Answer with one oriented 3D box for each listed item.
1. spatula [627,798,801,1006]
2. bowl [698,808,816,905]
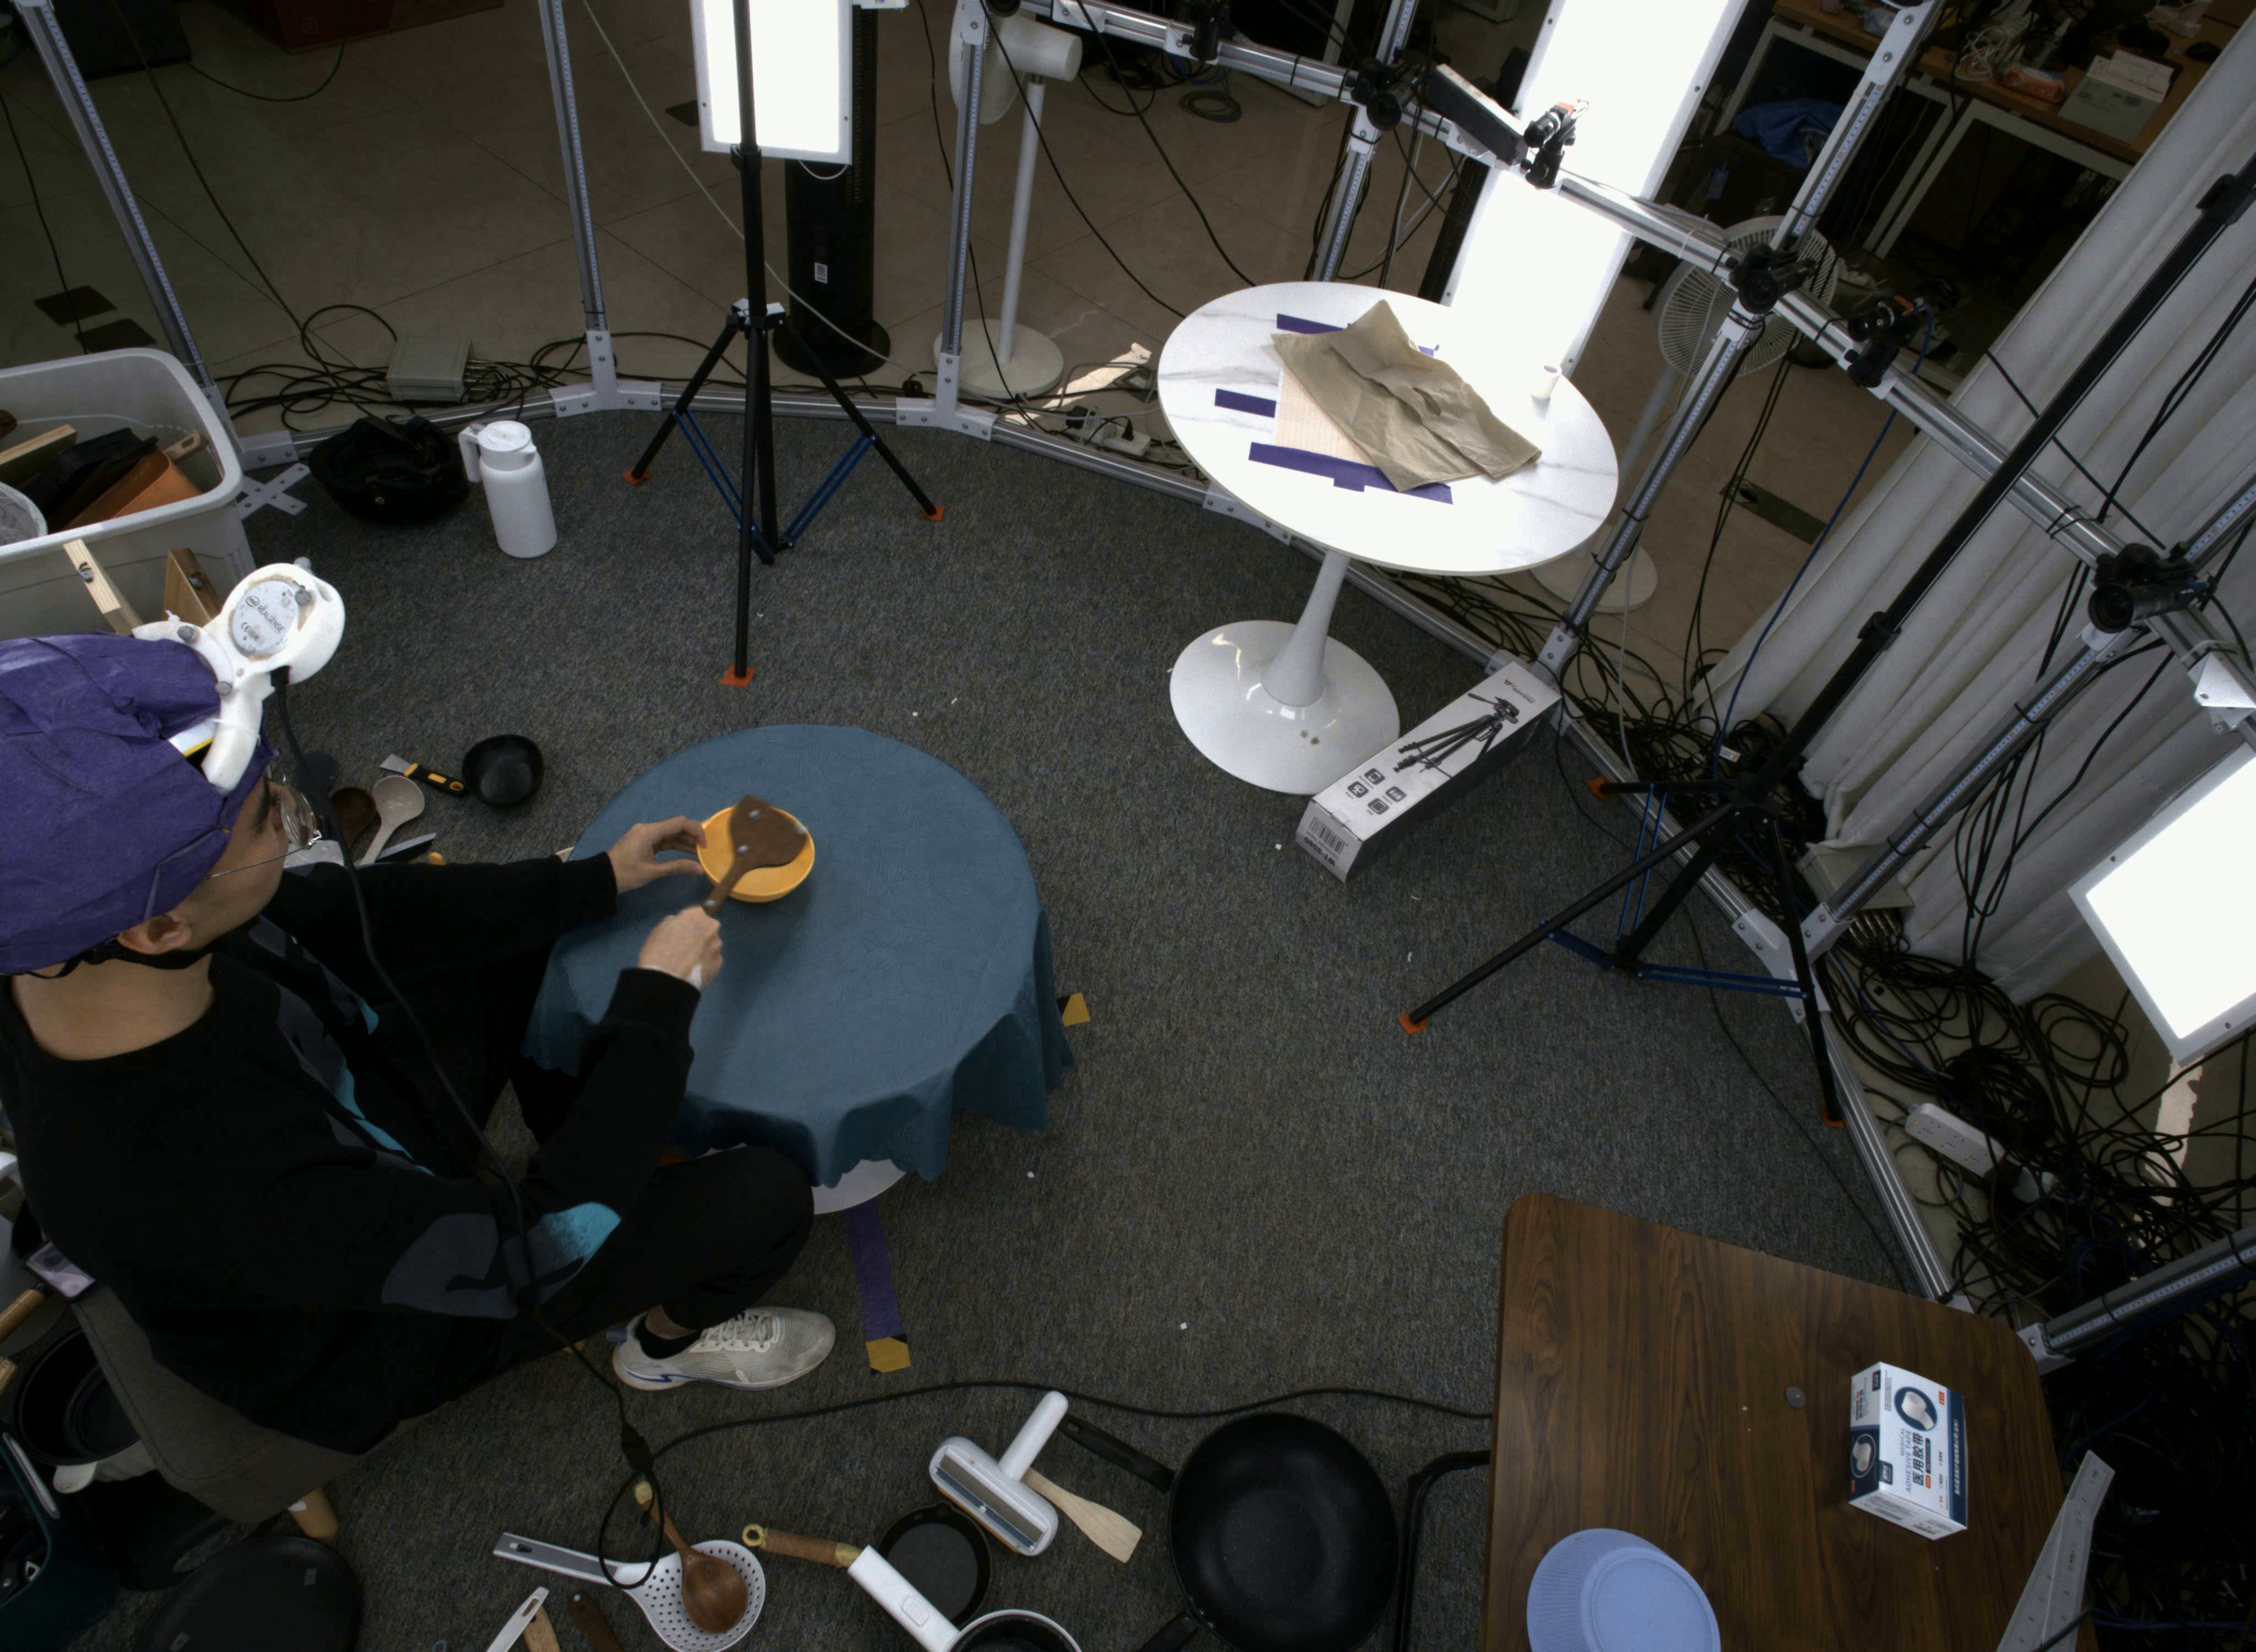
[{"bbox_3d":[-0.459,0.078,1.417,0.097,0.016,0.380,37,27,-12],"label":"spatula"},{"bbox_3d":[-0.471,0.048,1.641,0.145,0.061,0.142,12,48,-11],"label":"bowl"}]
